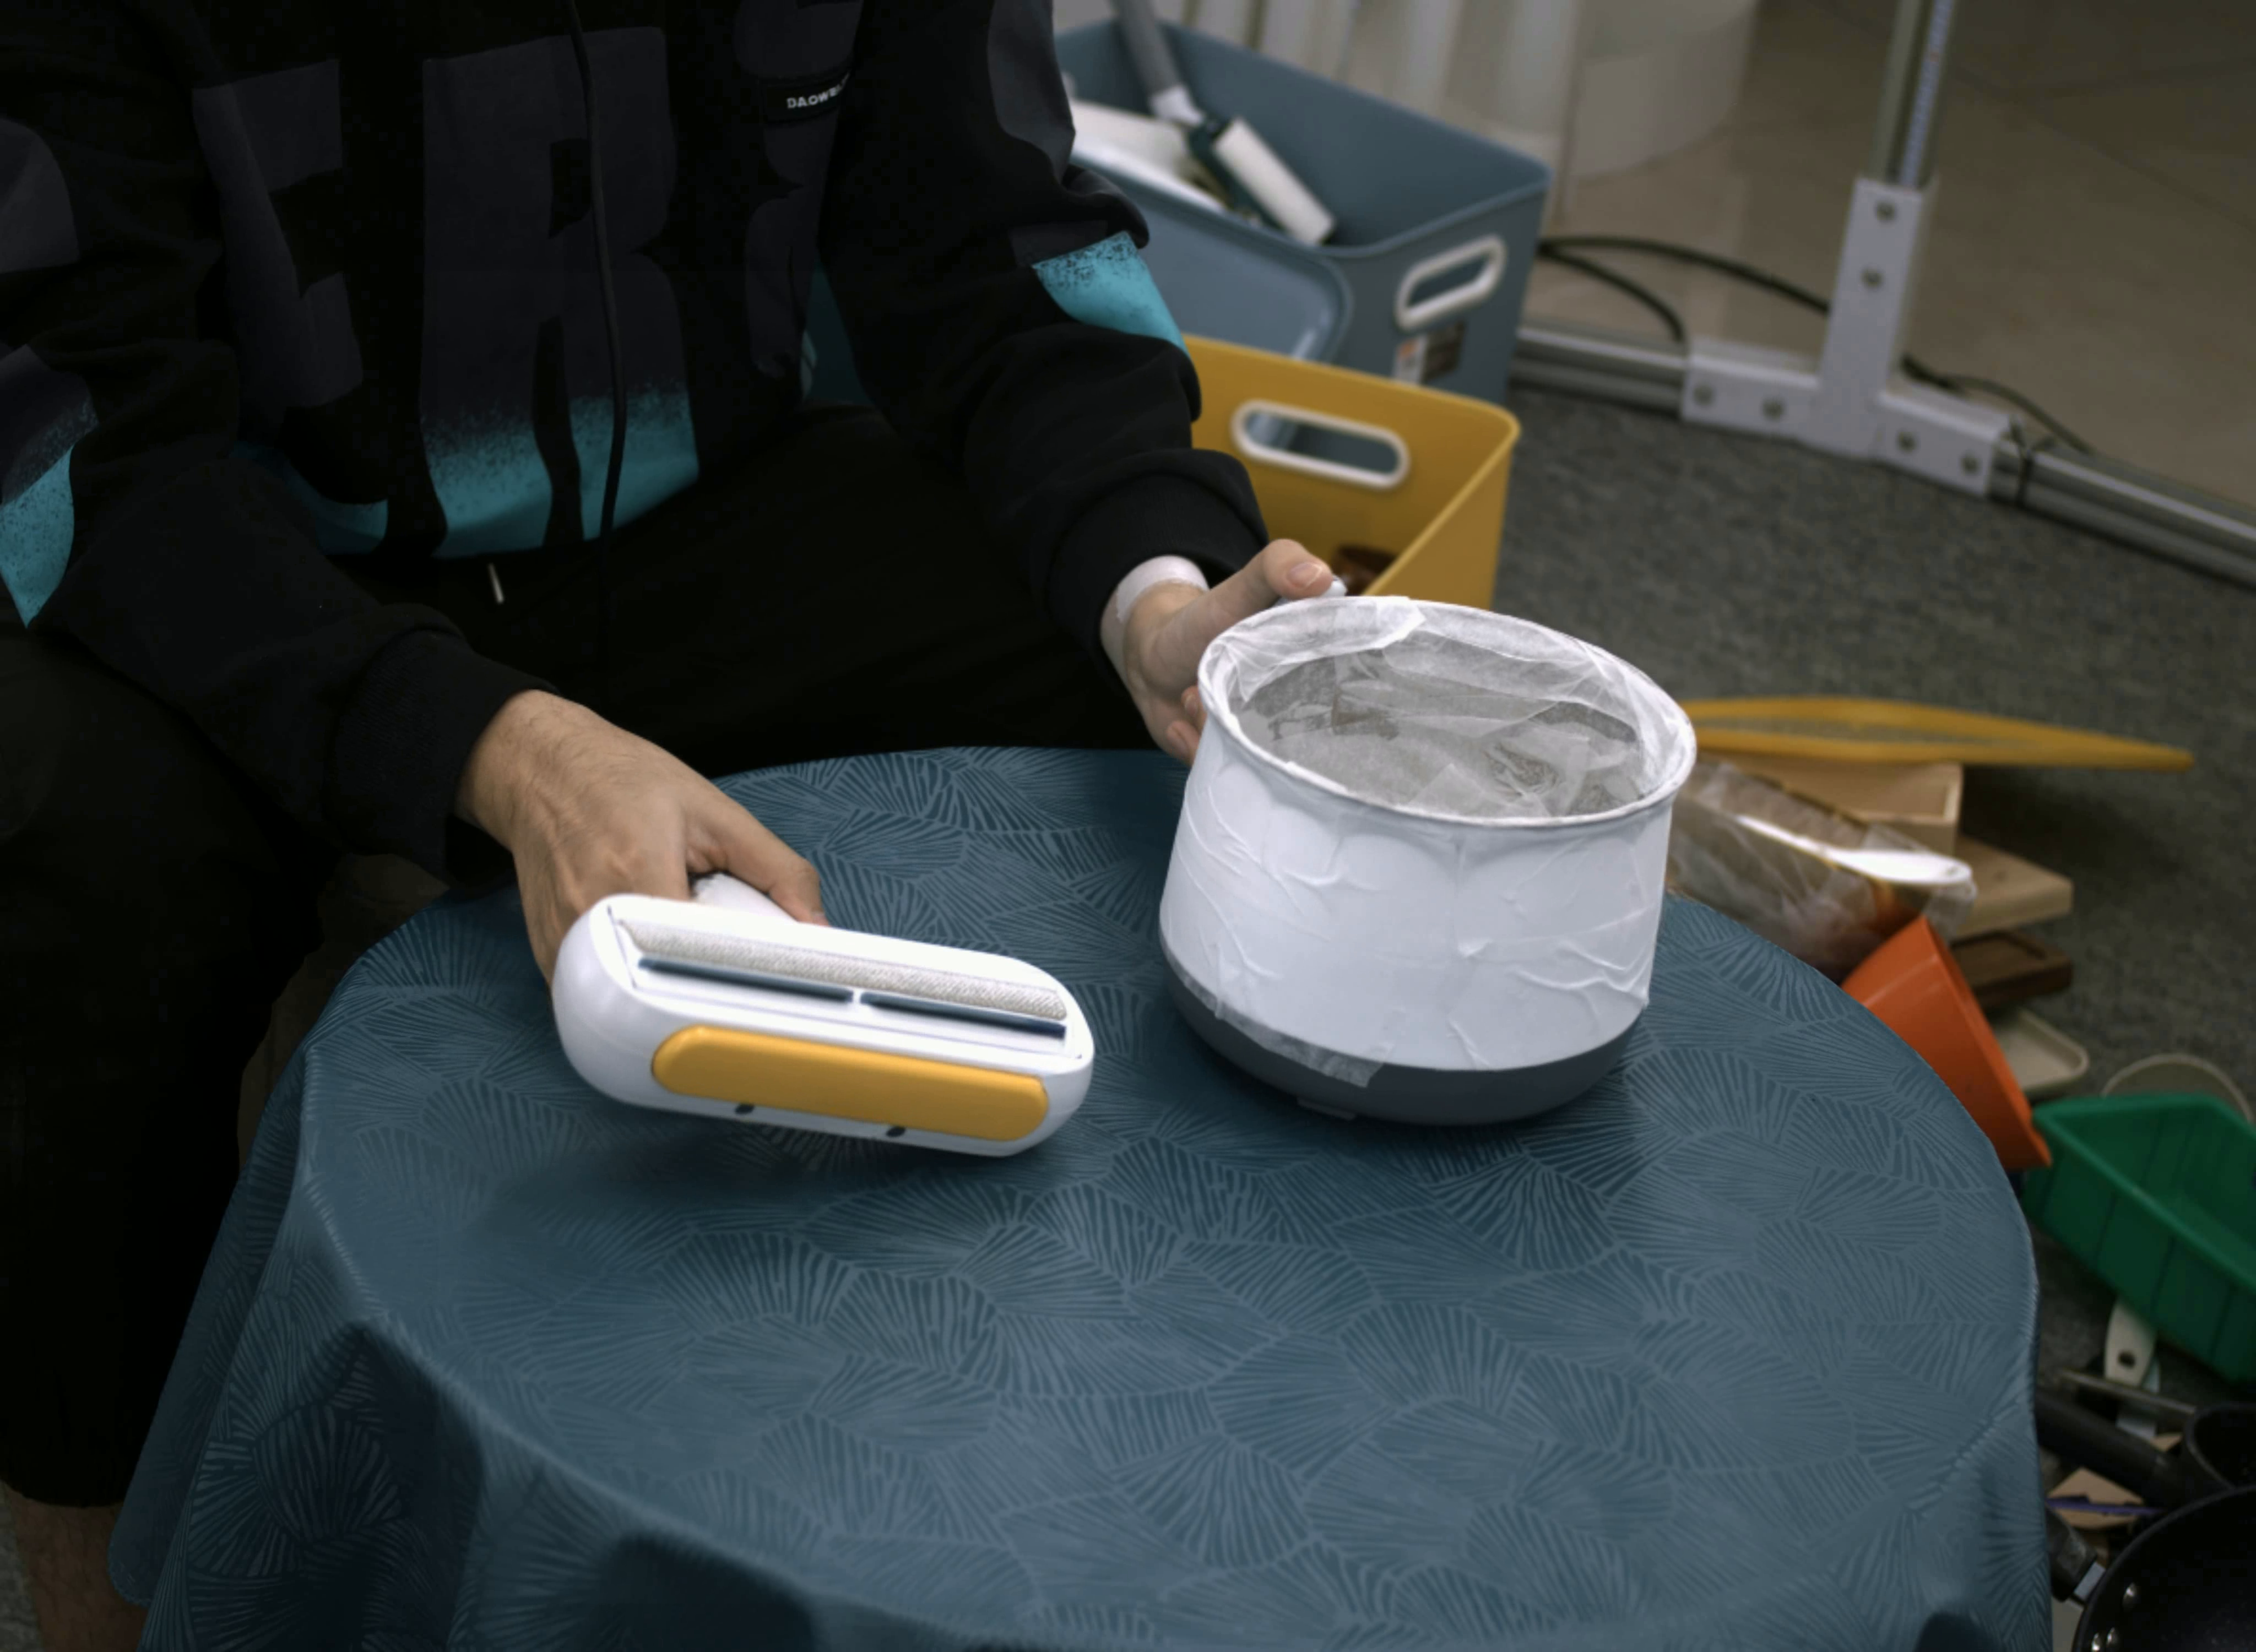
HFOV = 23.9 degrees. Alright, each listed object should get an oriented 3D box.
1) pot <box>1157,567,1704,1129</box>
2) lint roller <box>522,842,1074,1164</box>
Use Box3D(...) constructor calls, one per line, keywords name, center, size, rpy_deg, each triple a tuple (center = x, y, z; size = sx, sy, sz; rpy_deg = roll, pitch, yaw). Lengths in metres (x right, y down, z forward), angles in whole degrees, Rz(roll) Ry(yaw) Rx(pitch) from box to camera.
Box3D(name="pot", center=(0.092, 0.001, 1.902), size=(0.177, 0.136, 0.236), rpy_deg=(-4, 30, -26))
Box3D(name="lint roller", center=(-0.128, 0.045, 1.829), size=(0.191, 0.074, 0.194), rpy_deg=(7, 28, -23))
